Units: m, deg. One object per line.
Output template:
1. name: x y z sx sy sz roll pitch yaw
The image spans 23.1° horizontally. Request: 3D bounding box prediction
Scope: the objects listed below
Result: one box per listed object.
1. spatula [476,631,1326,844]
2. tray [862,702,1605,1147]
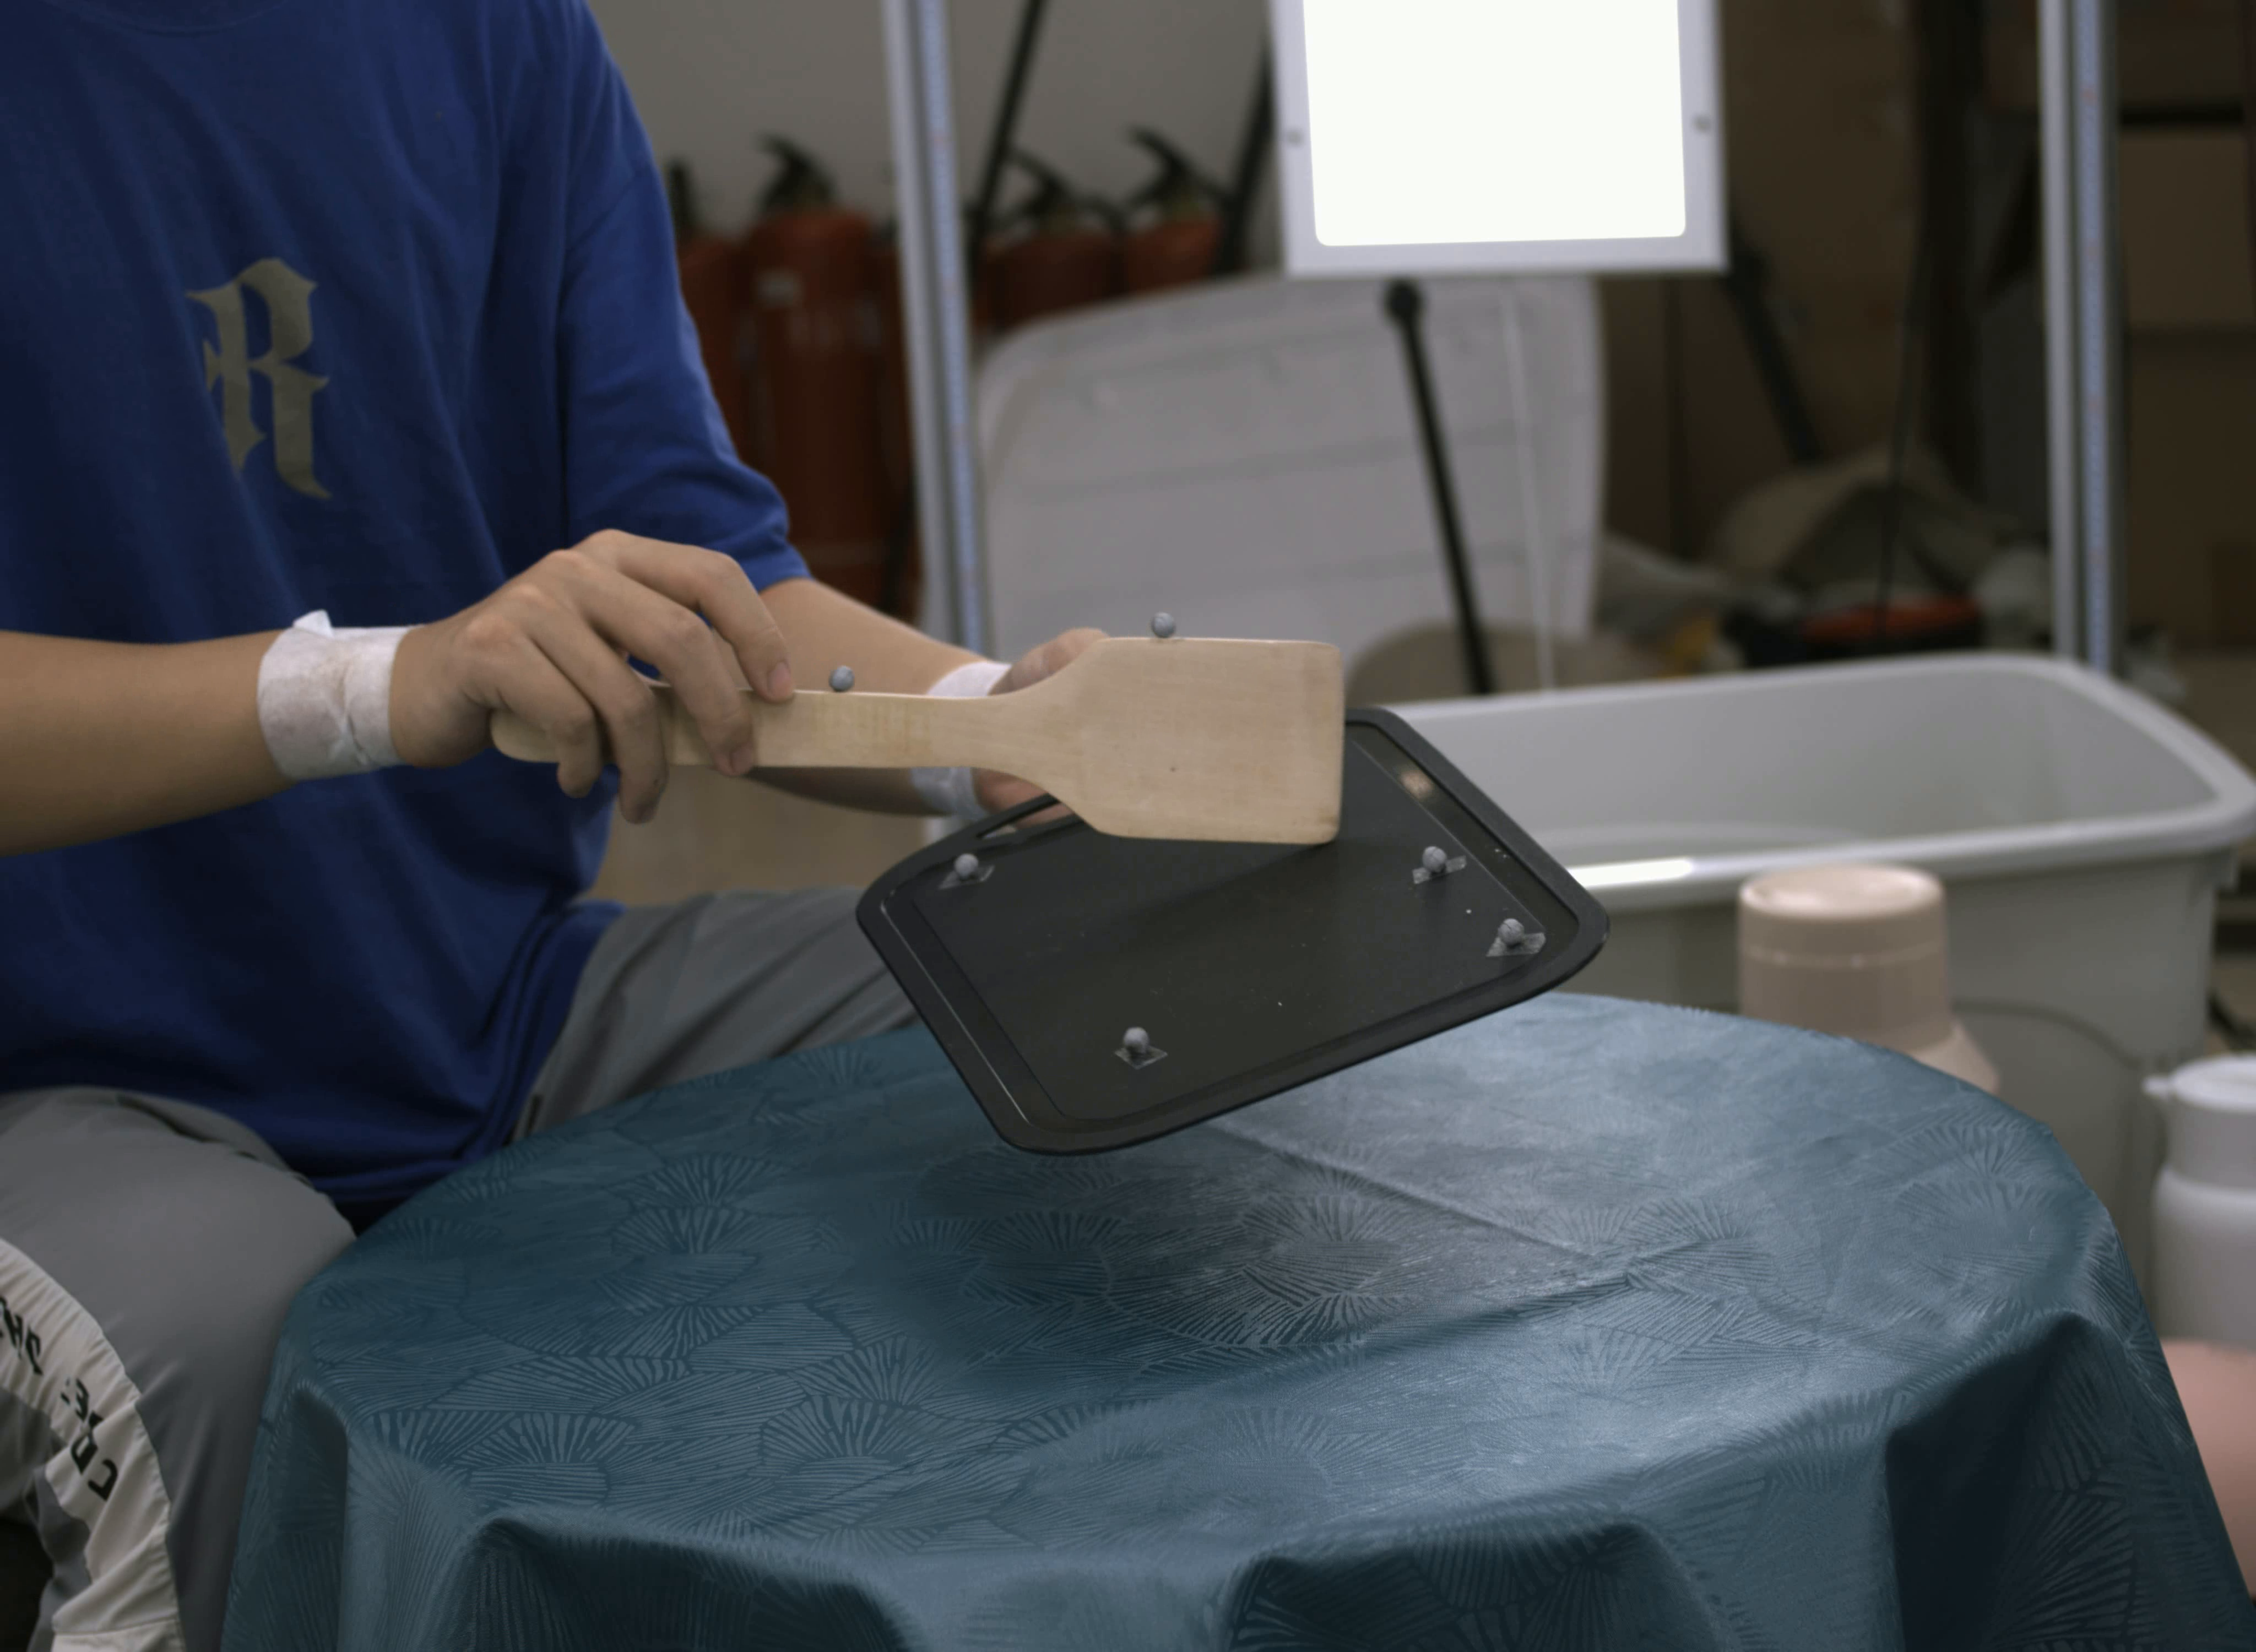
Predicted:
1. spatula: -0.078 -0.034 1.883 0.293 0.072 0.010 2 8 5
2. tray: 0.026 0.025 1.863 0.209 0.010 0.328 -21 21 -6
